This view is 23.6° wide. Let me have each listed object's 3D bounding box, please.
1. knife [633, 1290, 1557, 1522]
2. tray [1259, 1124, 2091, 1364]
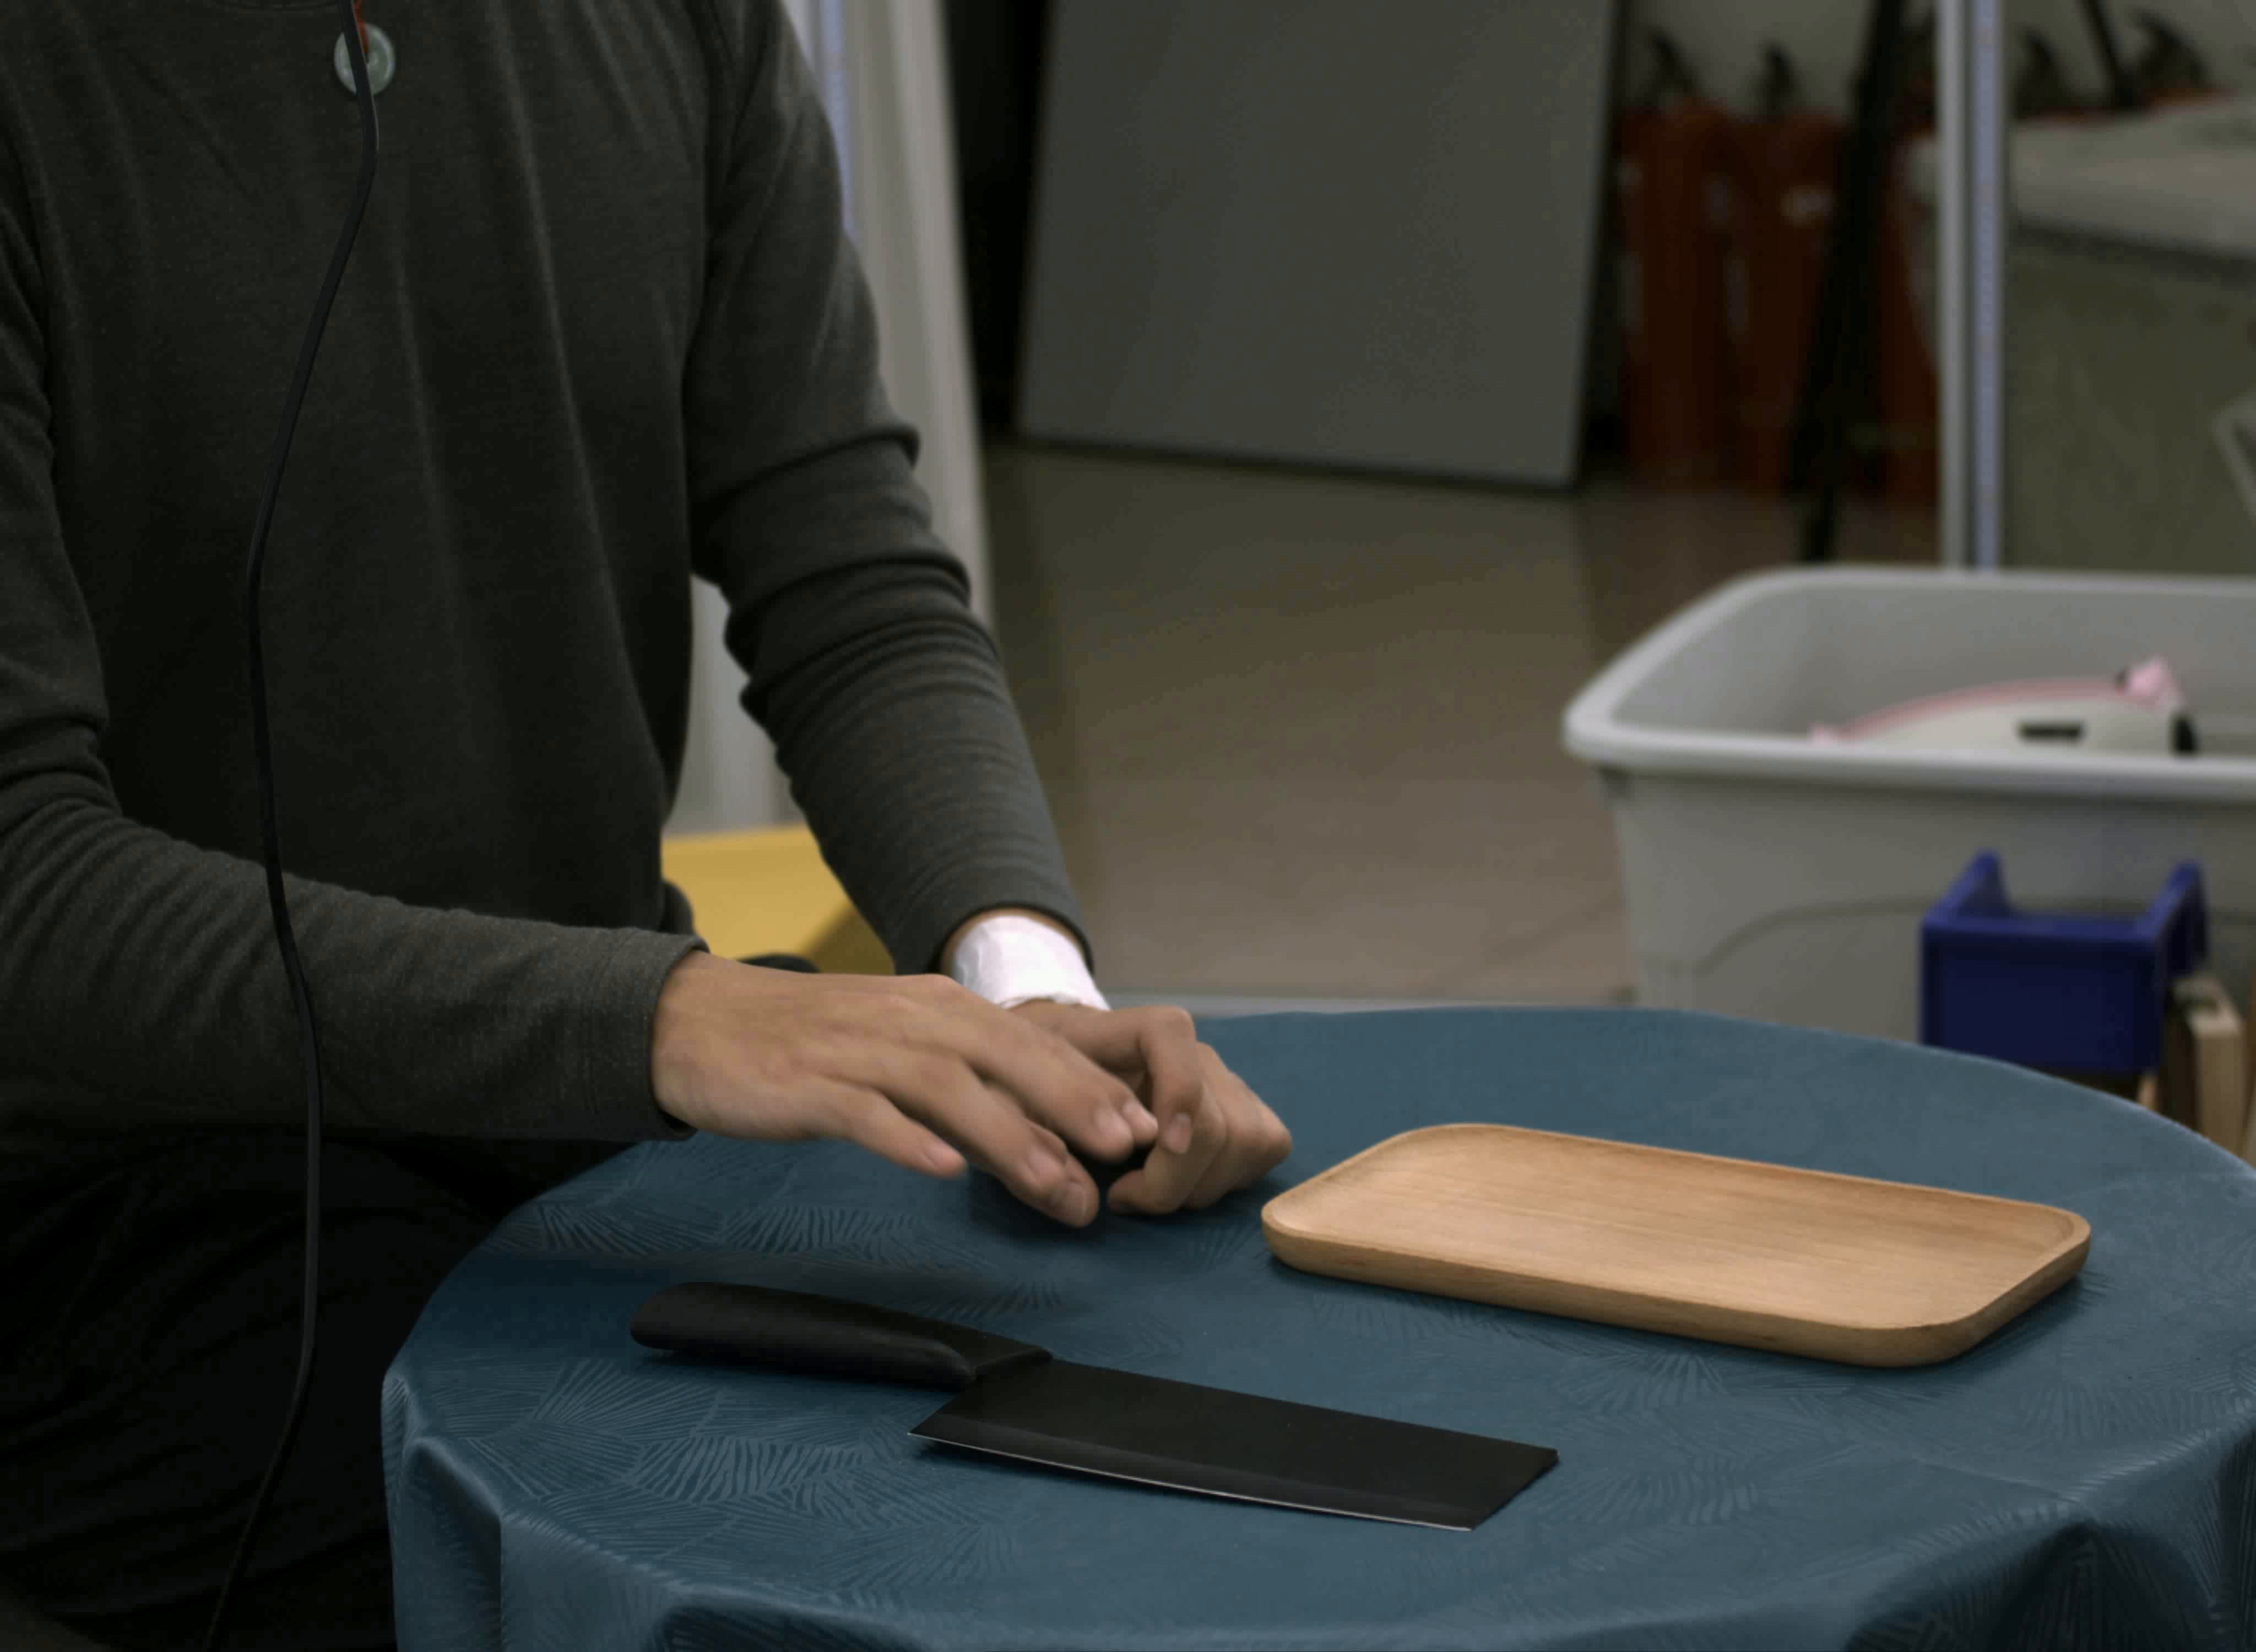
[{"bbox_3d":[-0.019,0.168,1.560,0.304,0.021,0.079,8,19,35],"label":"knife"},{"bbox_3d":[0.167,0.128,1.664,0.252,0.023,0.128,5,14,37],"label":"tray"}]
